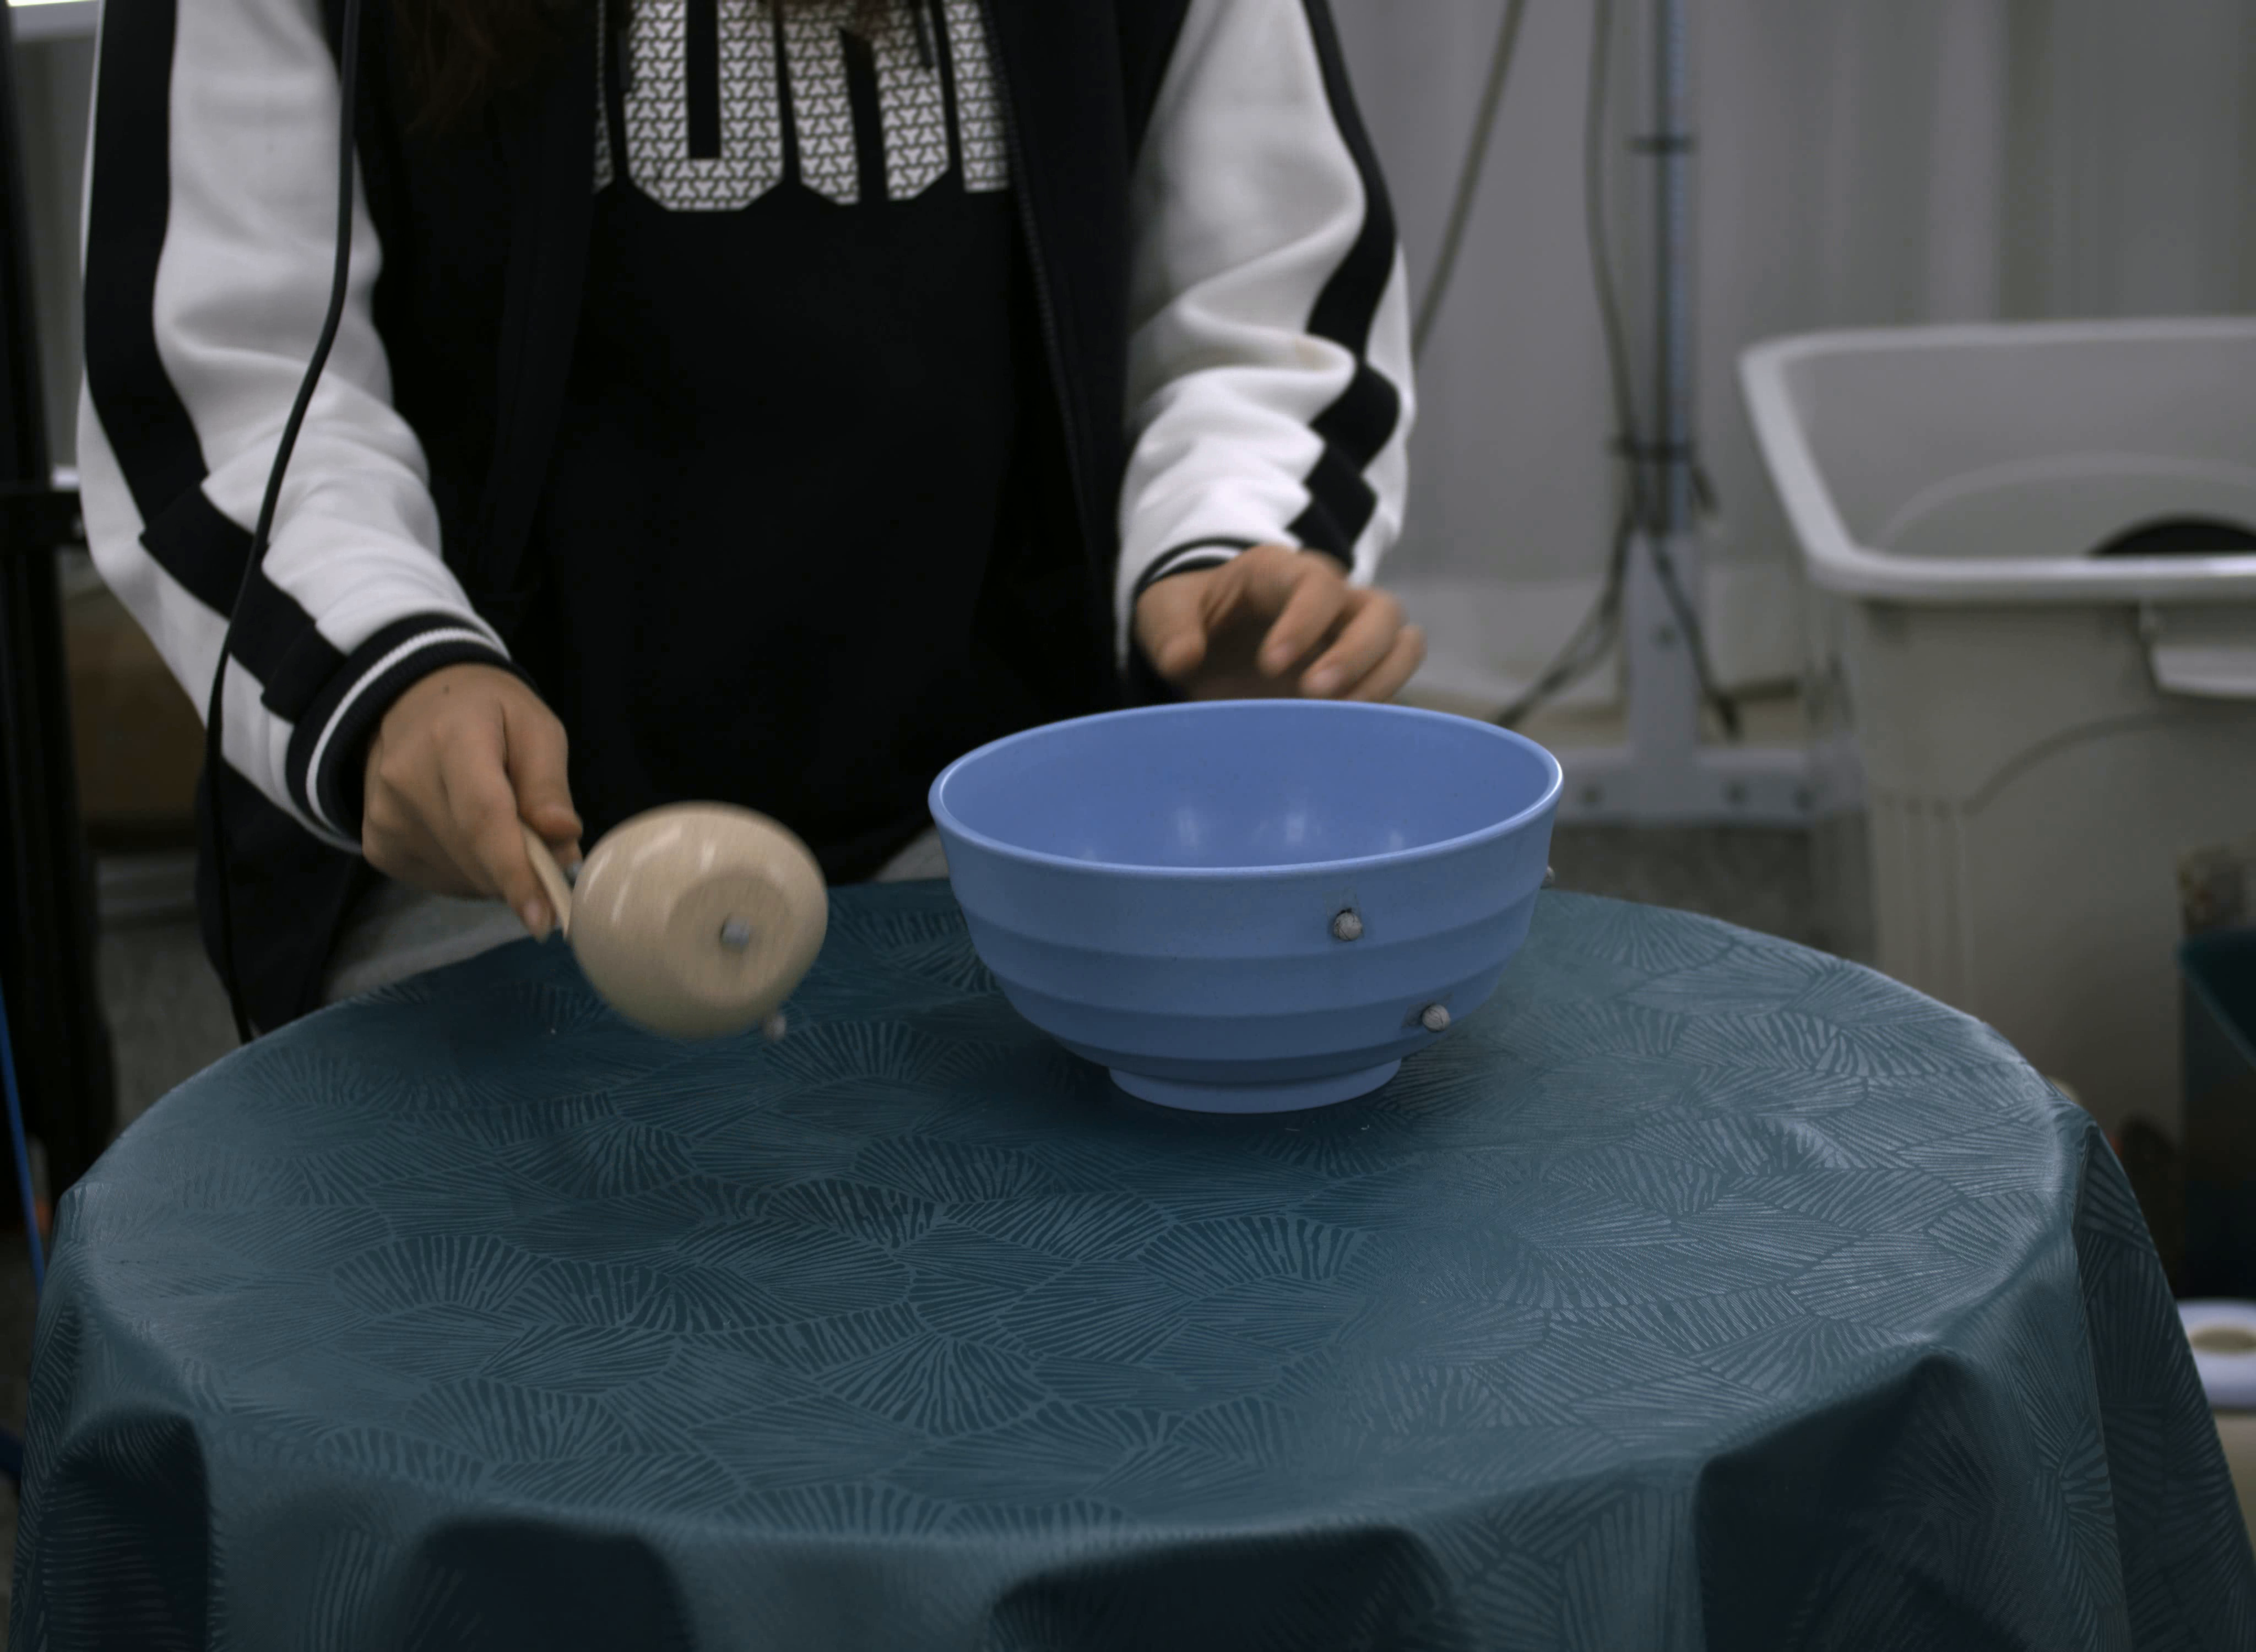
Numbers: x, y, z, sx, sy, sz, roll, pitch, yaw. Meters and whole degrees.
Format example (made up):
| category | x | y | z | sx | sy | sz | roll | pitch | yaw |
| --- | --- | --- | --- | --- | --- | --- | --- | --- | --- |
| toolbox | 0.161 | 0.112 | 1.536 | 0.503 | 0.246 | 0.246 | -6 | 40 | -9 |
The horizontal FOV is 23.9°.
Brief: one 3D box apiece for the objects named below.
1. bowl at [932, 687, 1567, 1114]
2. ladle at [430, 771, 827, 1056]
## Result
| category | x | y | z | sx | sy | sz | roll | pitch | yaw |
| --- | --- | --- | --- | --- | --- | --- | --- | --- | --- |
| bowl | 0.038 | 0.029 | 1.652 | 0.195 | 0.095 | 0.197 | -1 | 18 | -1 |
| ladle | -0.157 | 0.002 | 1.638 | 0.072 | 0.071 | 0.259 | -40 | 25 | -3 |
